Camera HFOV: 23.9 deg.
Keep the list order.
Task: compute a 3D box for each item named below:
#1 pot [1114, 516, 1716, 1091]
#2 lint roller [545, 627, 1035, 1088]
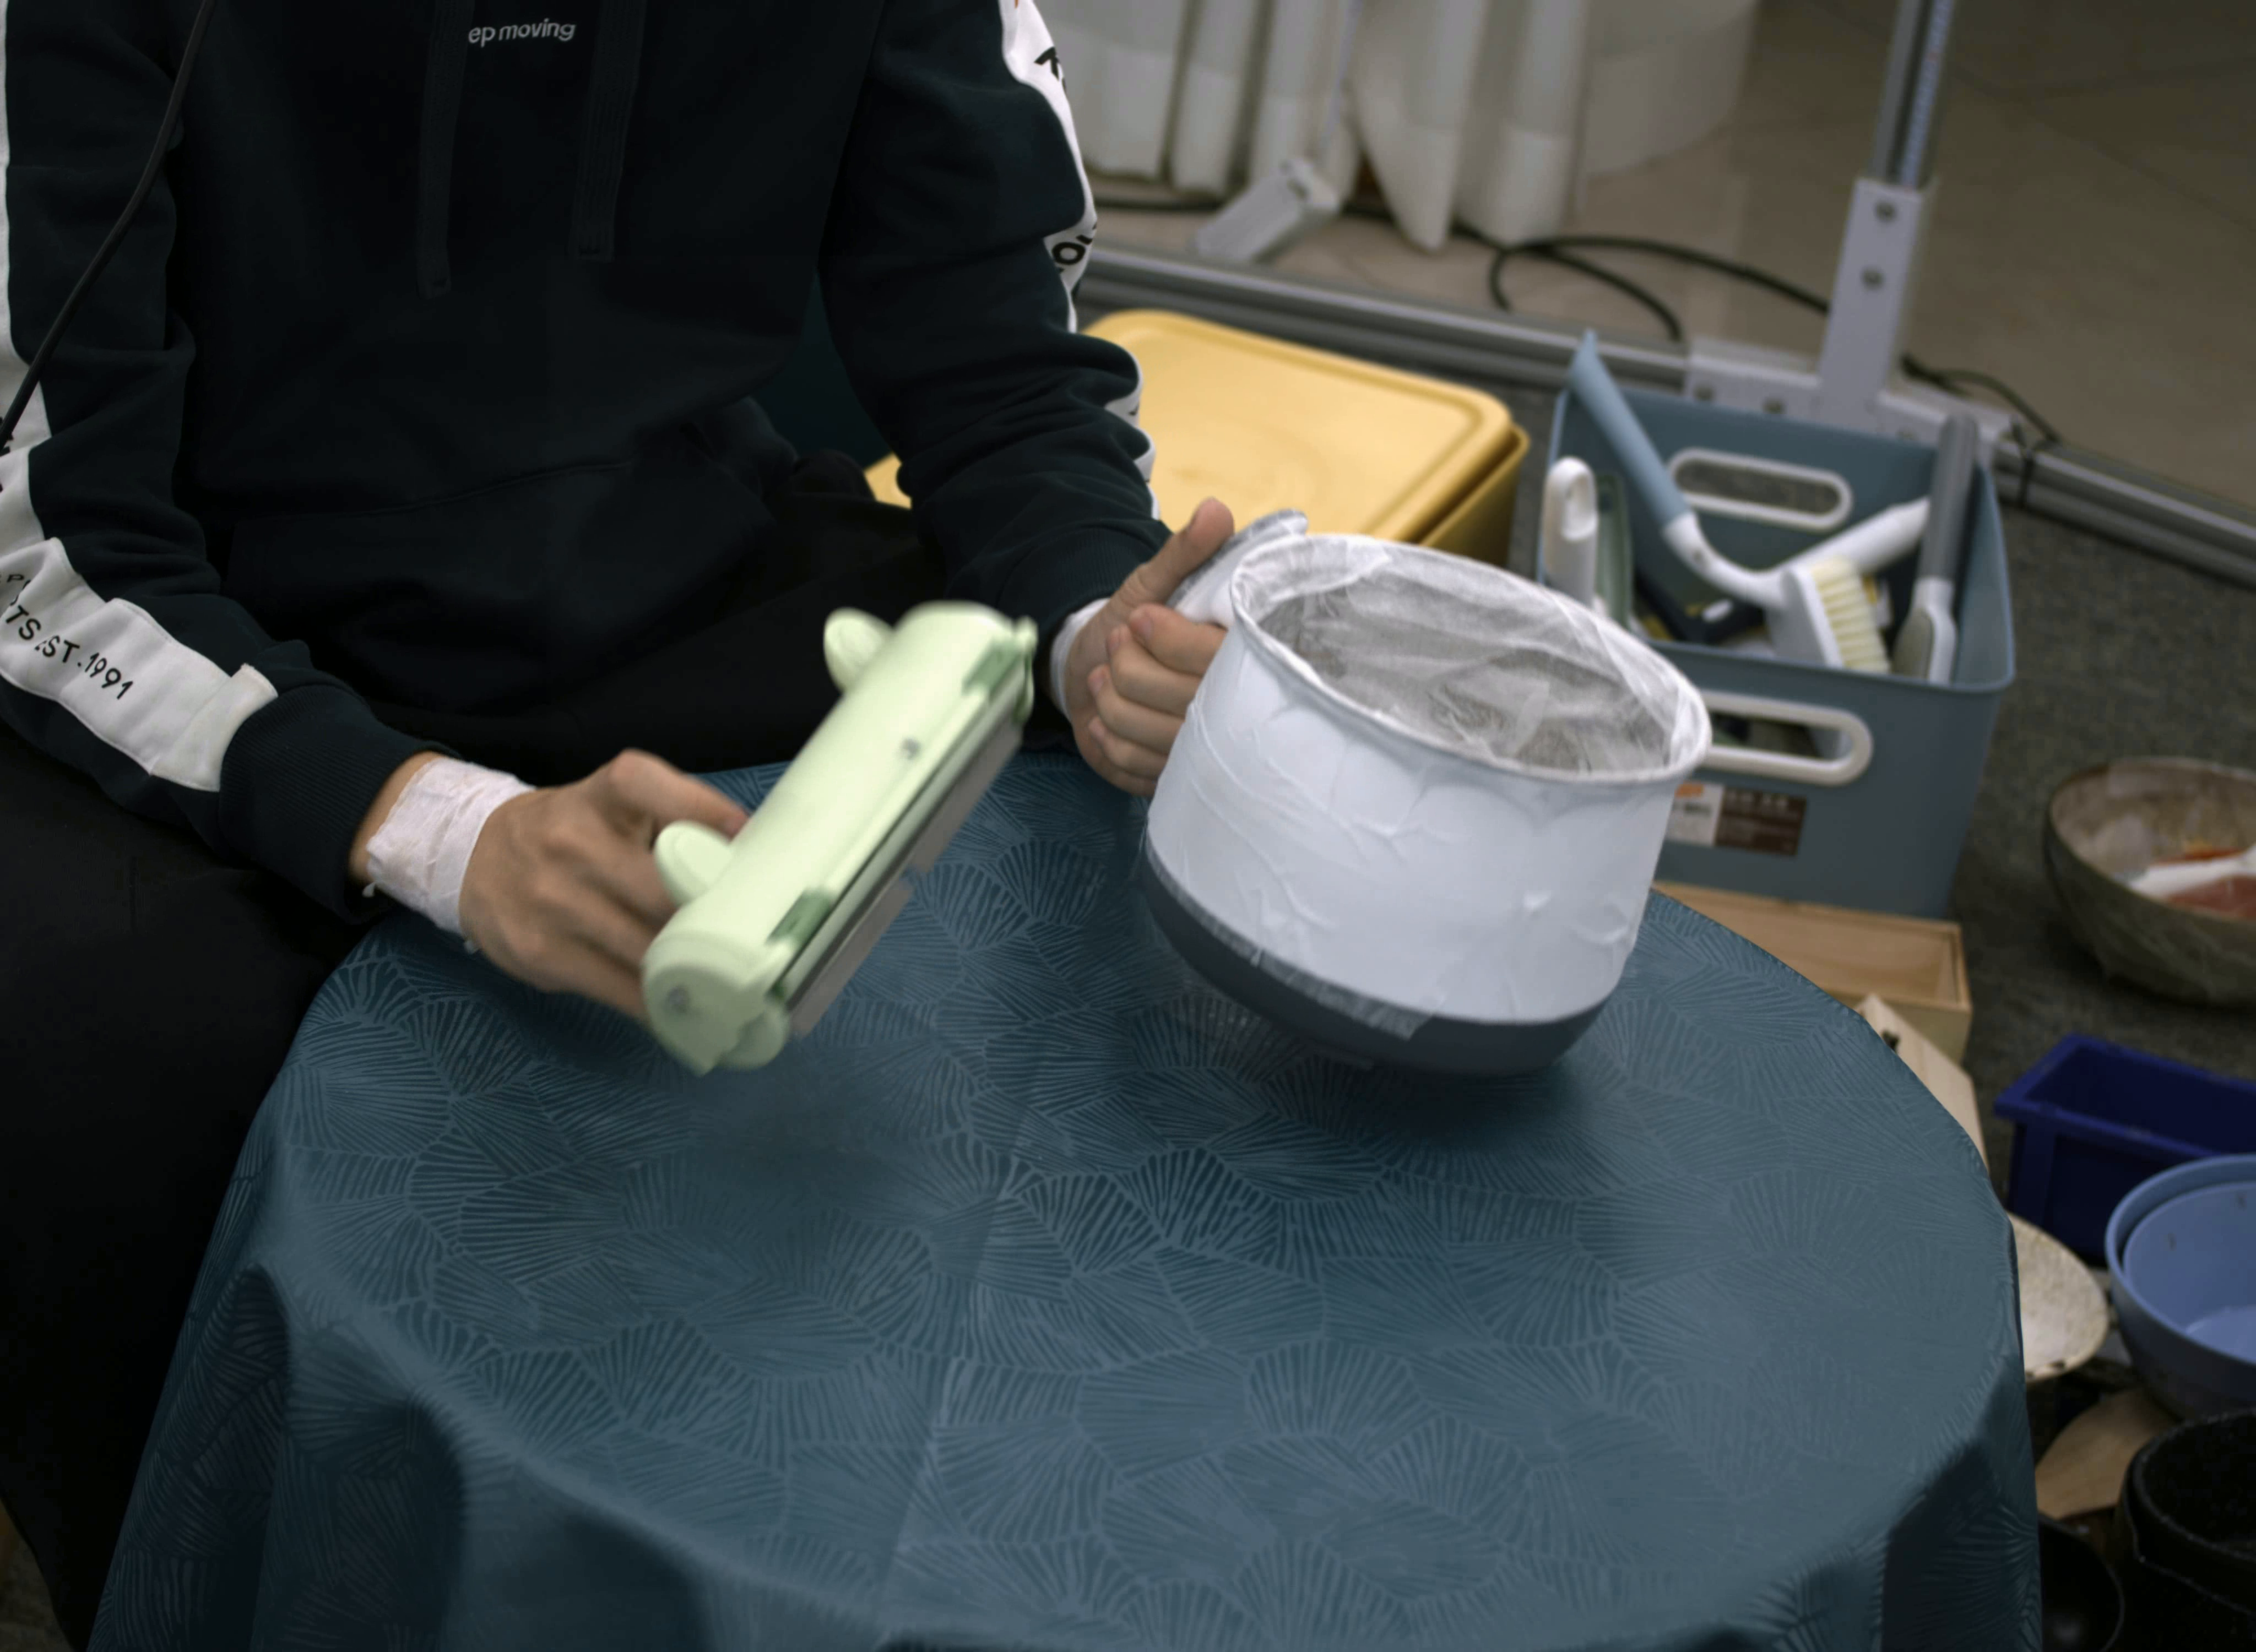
[{"bbox_3d":[0.084,-0.015,1.885,0.177,0.136,0.236,-4,33,-43],"label":"pot"},{"bbox_3d":[-0.143,0.008,1.786,0.184,0.082,0.199,-7,32,39],"label":"lint roller"}]
